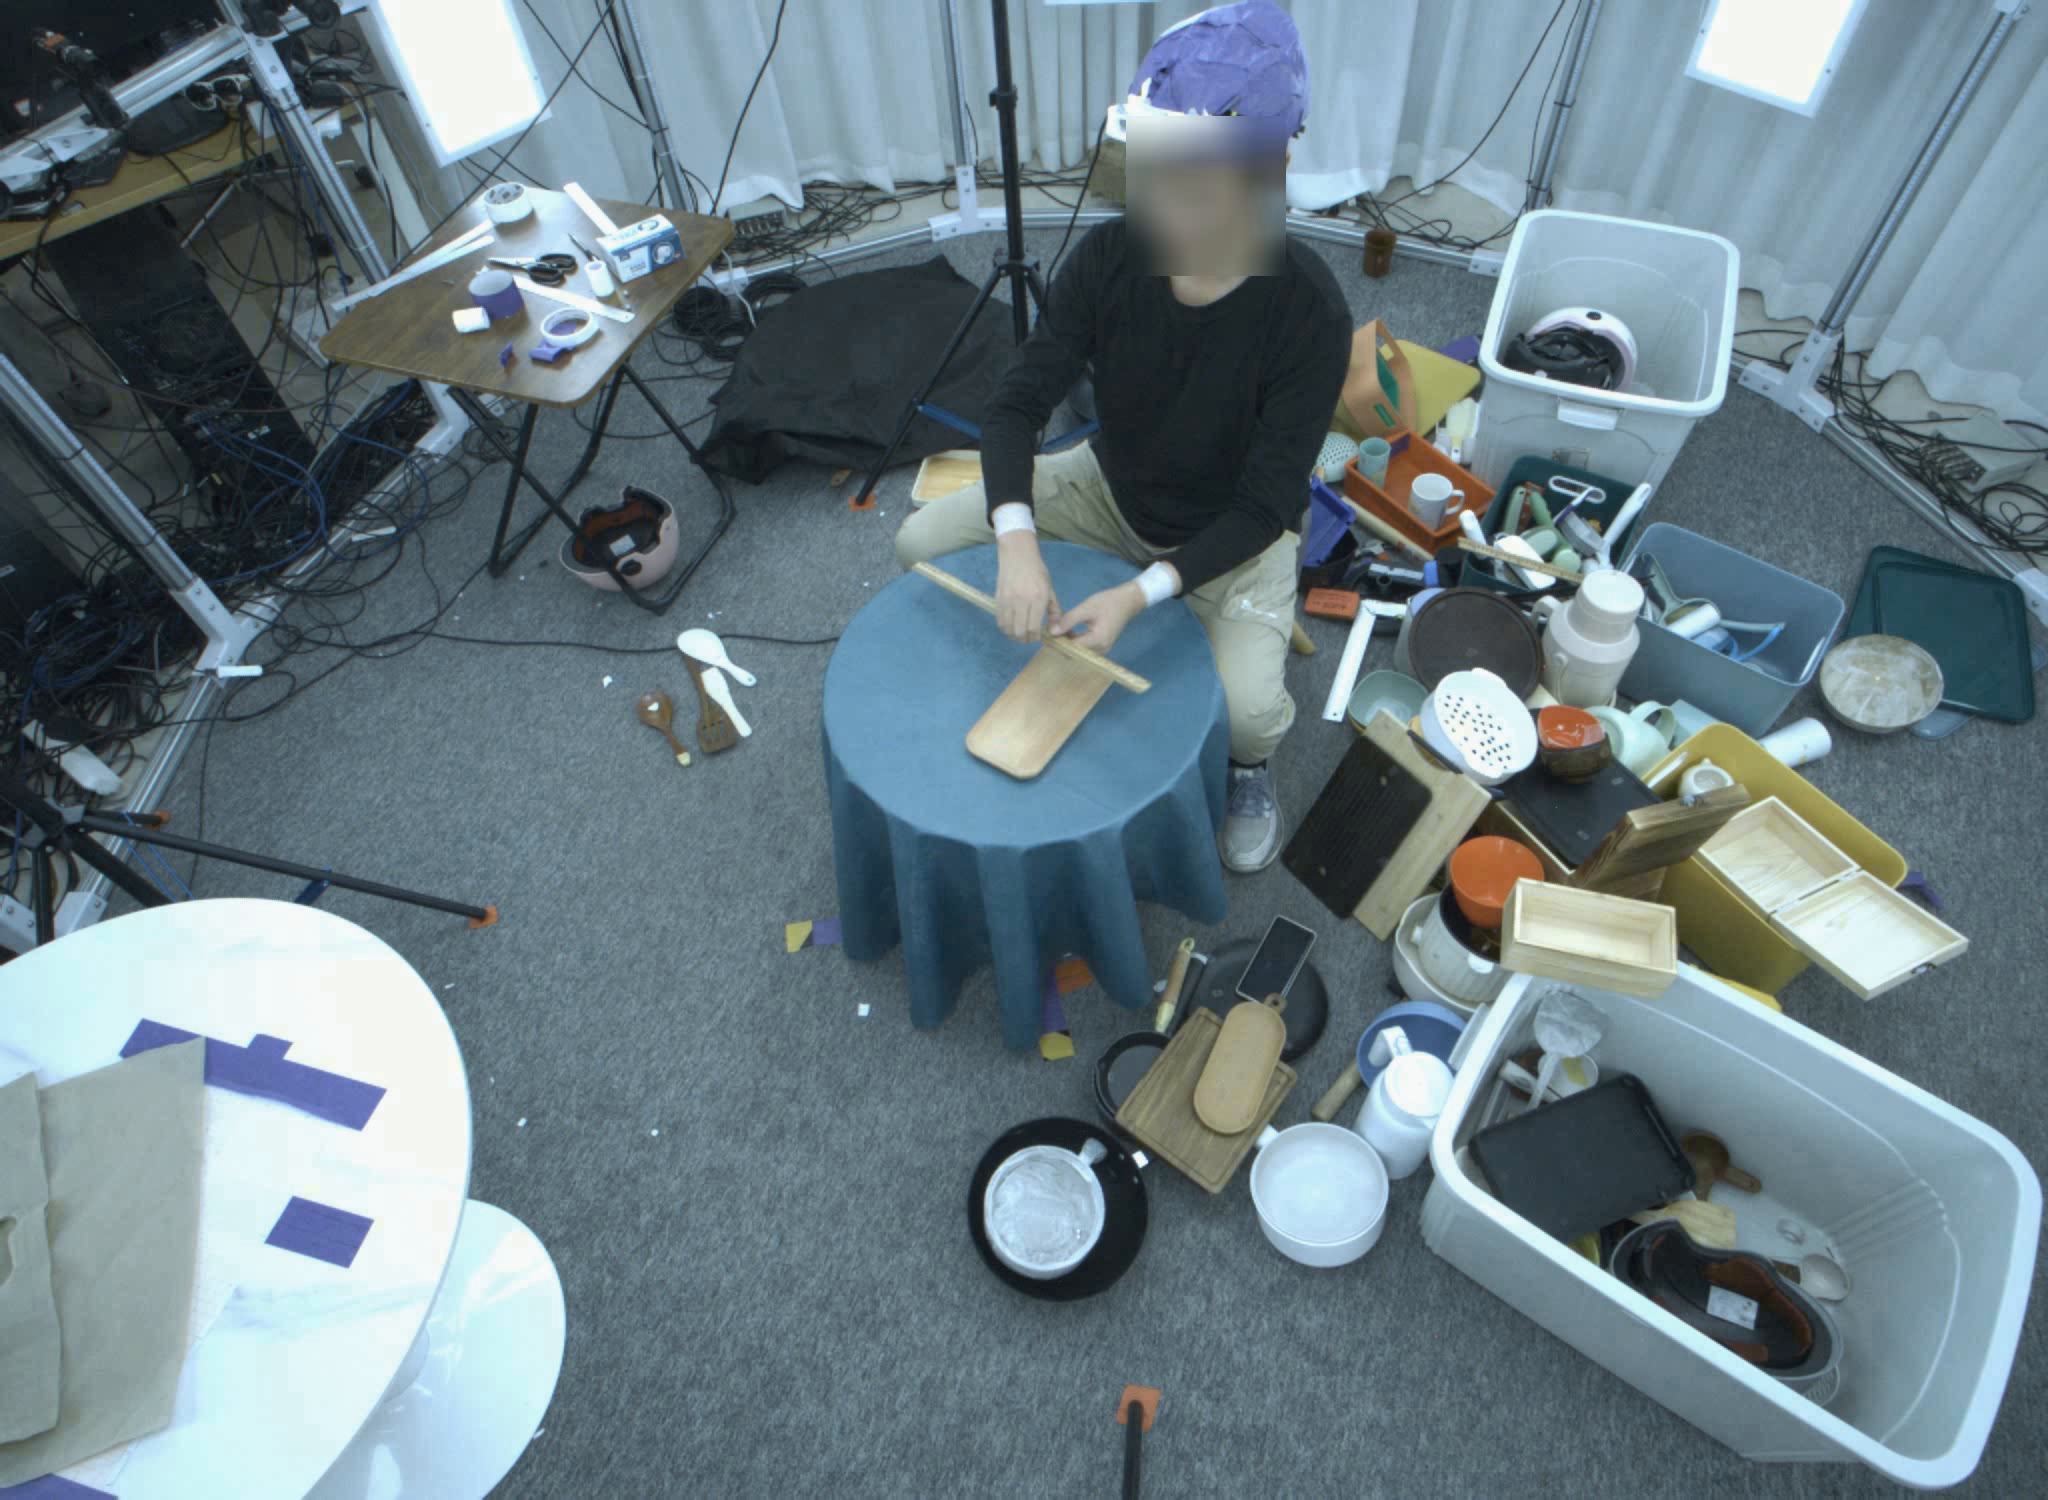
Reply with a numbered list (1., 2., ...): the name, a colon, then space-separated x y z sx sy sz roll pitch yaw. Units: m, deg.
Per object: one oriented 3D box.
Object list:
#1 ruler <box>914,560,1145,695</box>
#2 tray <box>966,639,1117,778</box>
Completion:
1. ruler: -0.005 -0.189 1.810 0.027 0.006 0.489 -31 47 -30
2. tray: 0.028 -0.063 1.822 0.129 0.023 0.252 30 60 19
